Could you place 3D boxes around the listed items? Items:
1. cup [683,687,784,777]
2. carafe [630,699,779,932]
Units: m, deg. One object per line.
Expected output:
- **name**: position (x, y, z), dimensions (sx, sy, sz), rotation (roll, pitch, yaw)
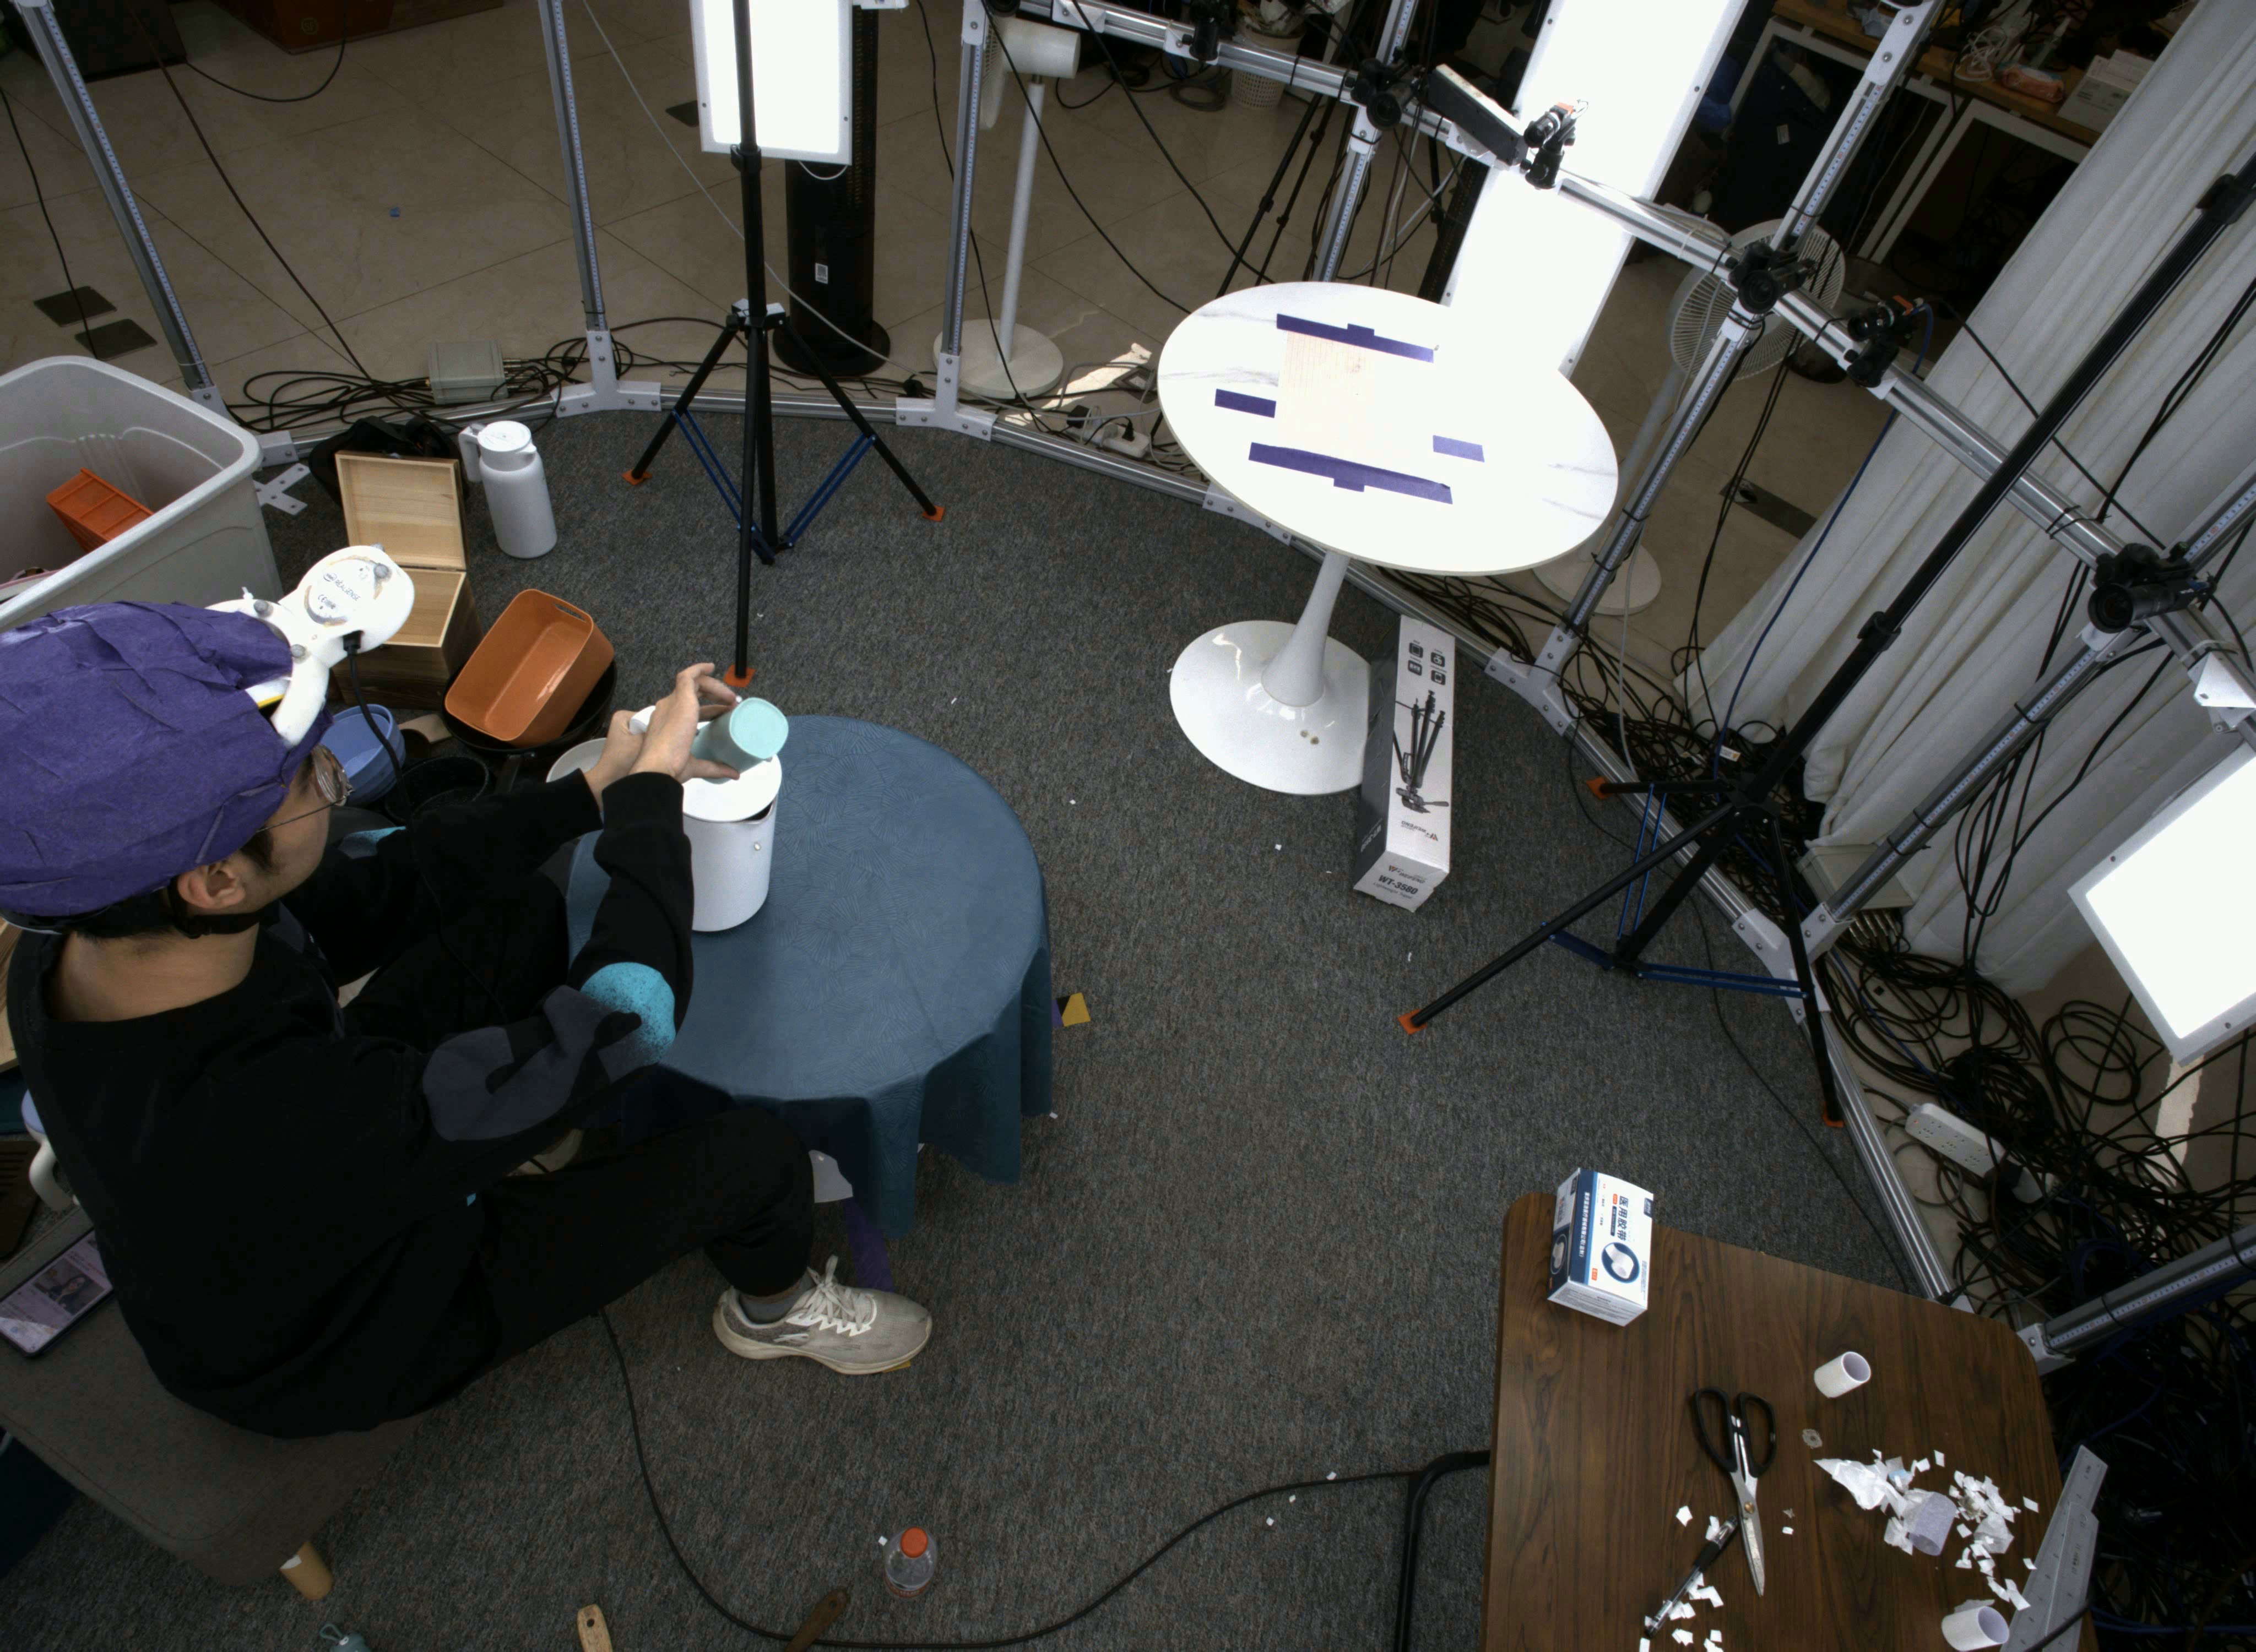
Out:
- **cup**: position (-0.416, -0.096, 1.352), dimensions (0.068, 0.129, 0.067), rotation (9, 75, -36)
- **carafe**: position (-0.518, -0.019, 1.549), dimensions (0.211, 0.243, 0.152), rotation (40, 50, 9)
